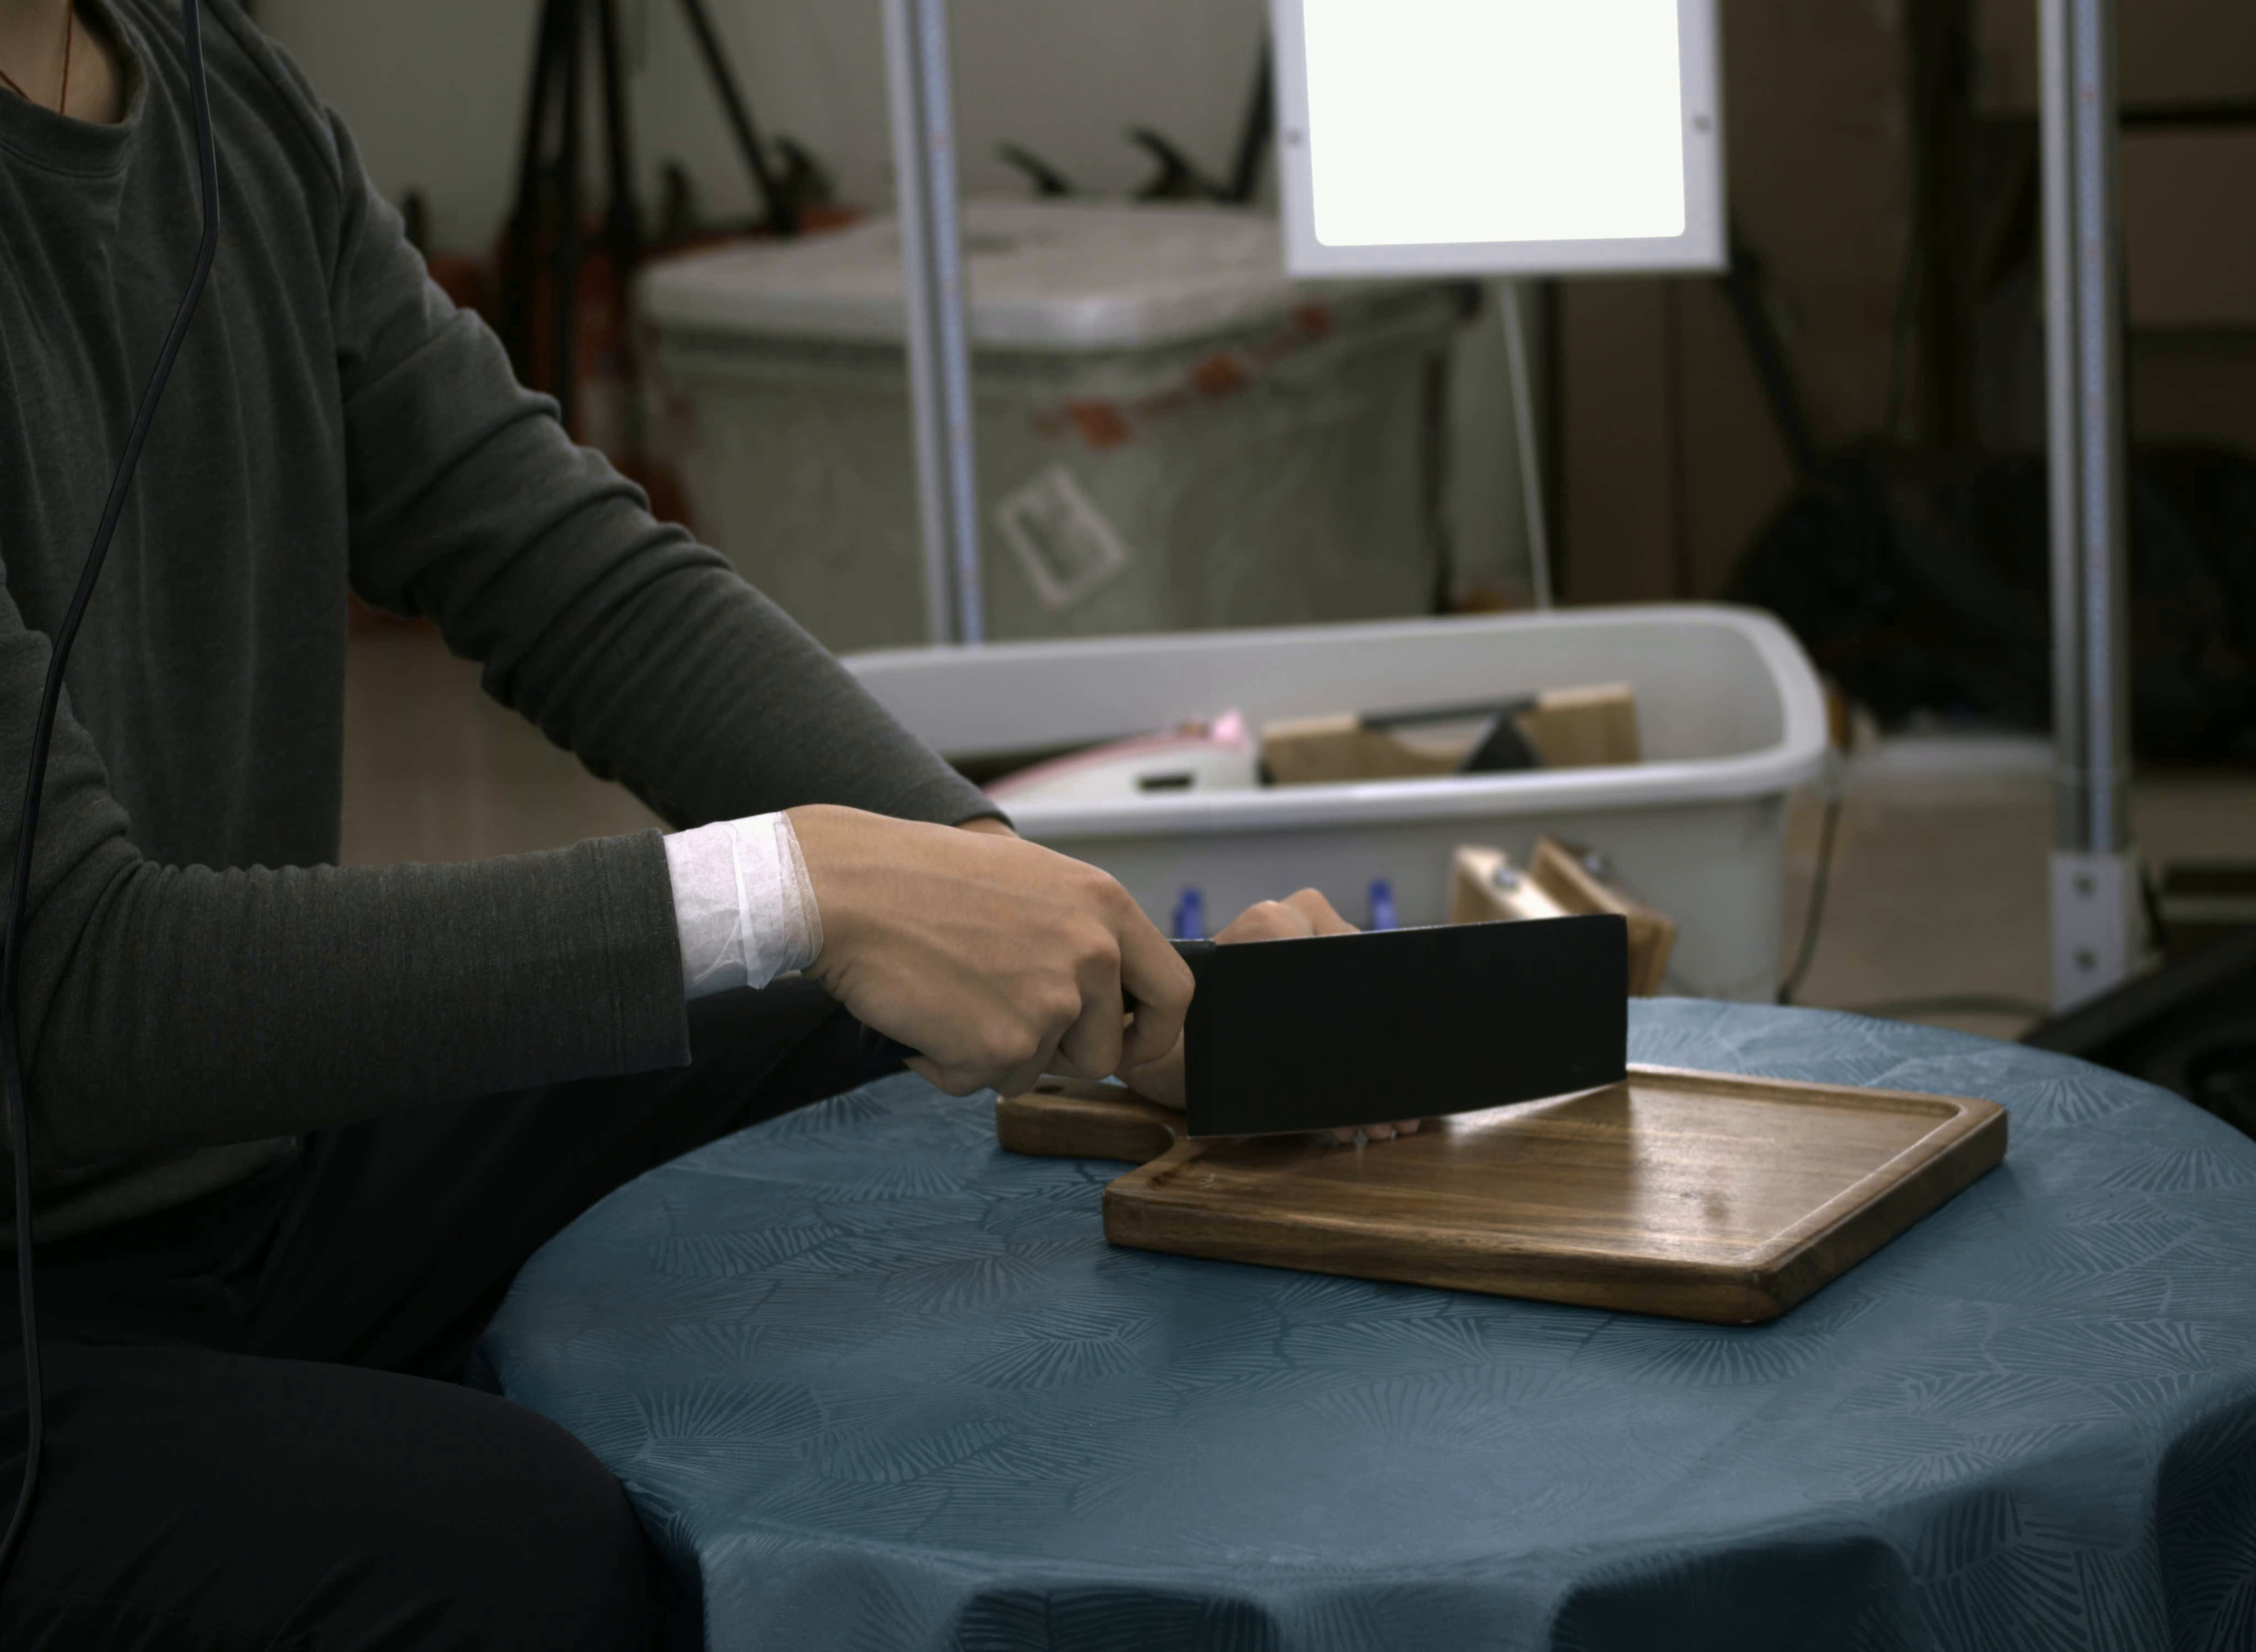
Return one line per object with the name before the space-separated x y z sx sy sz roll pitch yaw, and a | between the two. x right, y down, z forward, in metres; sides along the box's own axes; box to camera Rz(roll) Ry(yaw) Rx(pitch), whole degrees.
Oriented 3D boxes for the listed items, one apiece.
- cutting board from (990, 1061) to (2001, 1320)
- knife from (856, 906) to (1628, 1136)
cutting board | 0.104 0.112 1.878 0.359 0.023 0.196 4 16 34
knife | 0.045 0.065 1.855 0.296 0.081 0.021 1 3 -27
